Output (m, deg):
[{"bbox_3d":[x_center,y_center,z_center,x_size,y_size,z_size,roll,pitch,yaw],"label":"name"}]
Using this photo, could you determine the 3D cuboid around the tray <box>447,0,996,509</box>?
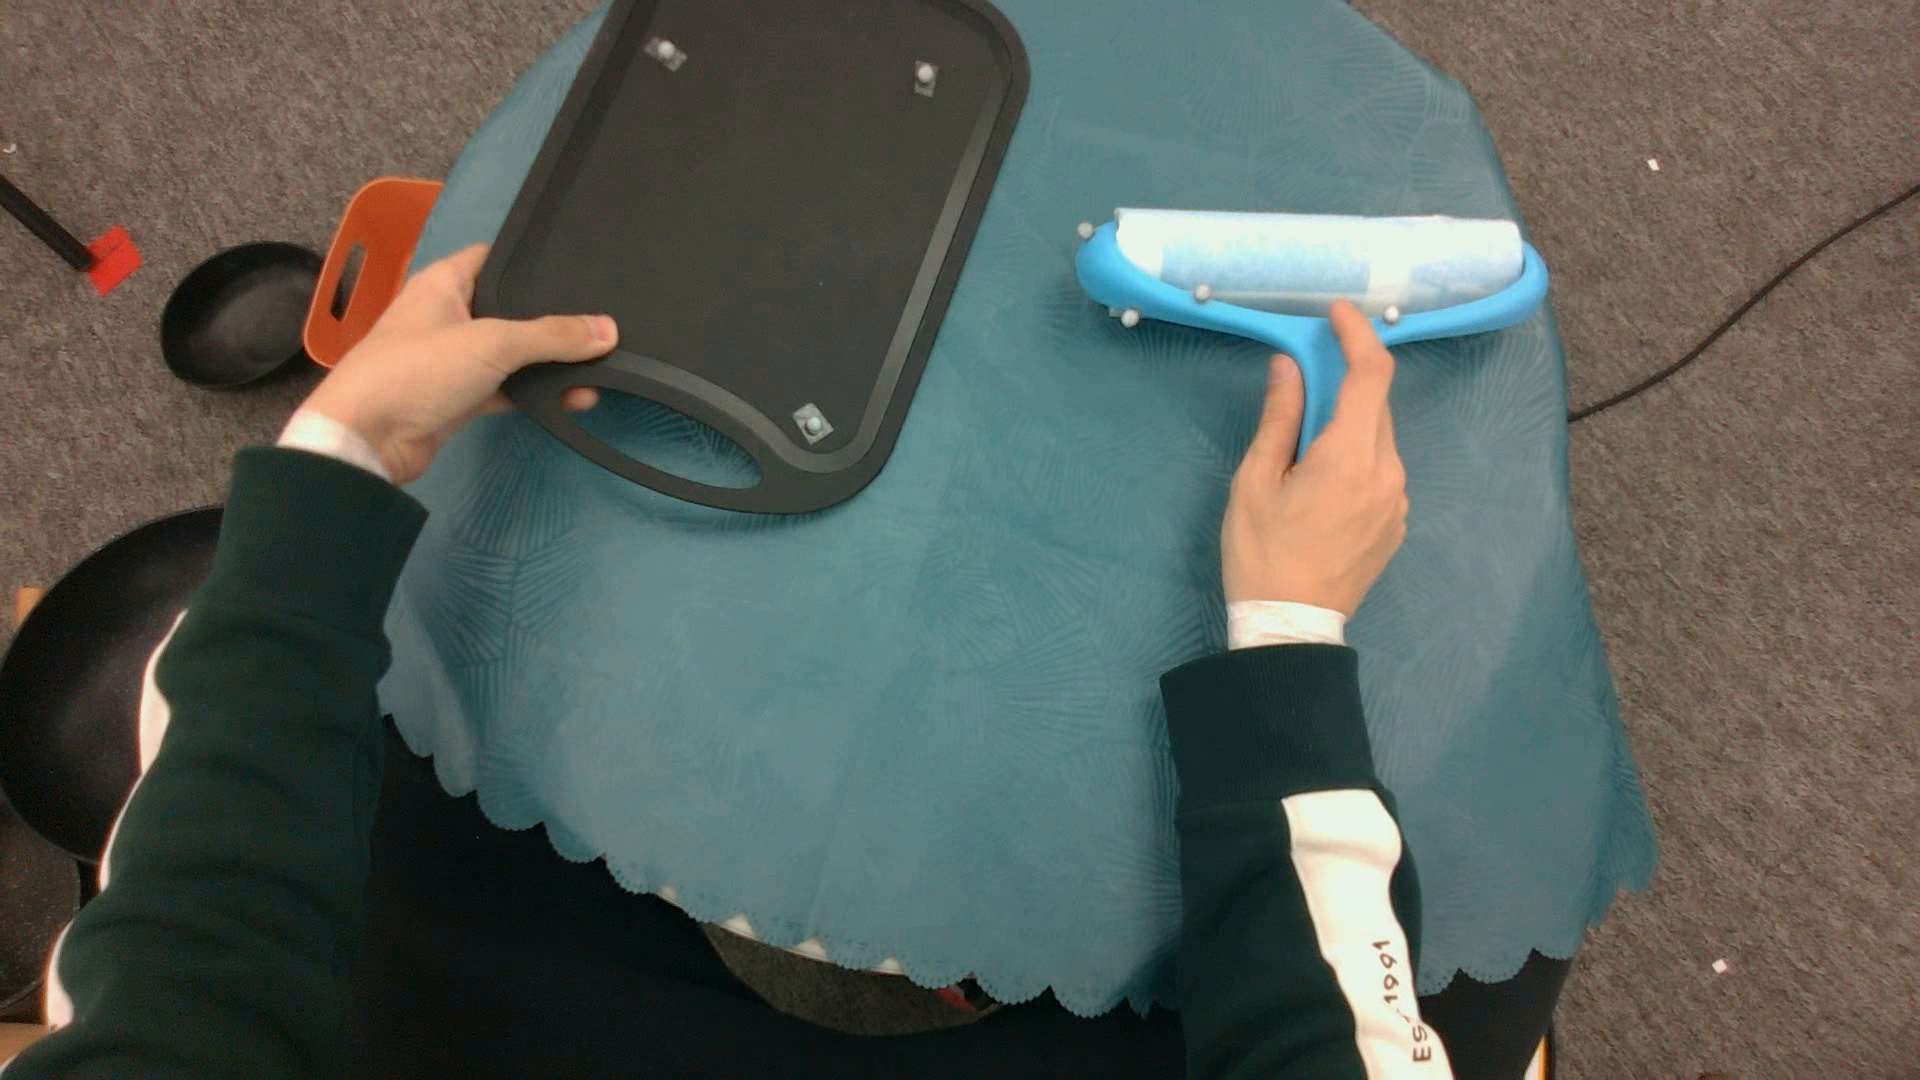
[{"bbox_3d":[-0.110,-0.175,0.689,0.211,0.010,0.326,22,73,-13],"label":"tray"}]

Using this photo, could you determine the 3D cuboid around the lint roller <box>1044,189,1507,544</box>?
[{"bbox_3d":[0.160,-0.093,0.665,0.229,0.067,0.181,-2,69,-4],"label":"lint roller"}]
